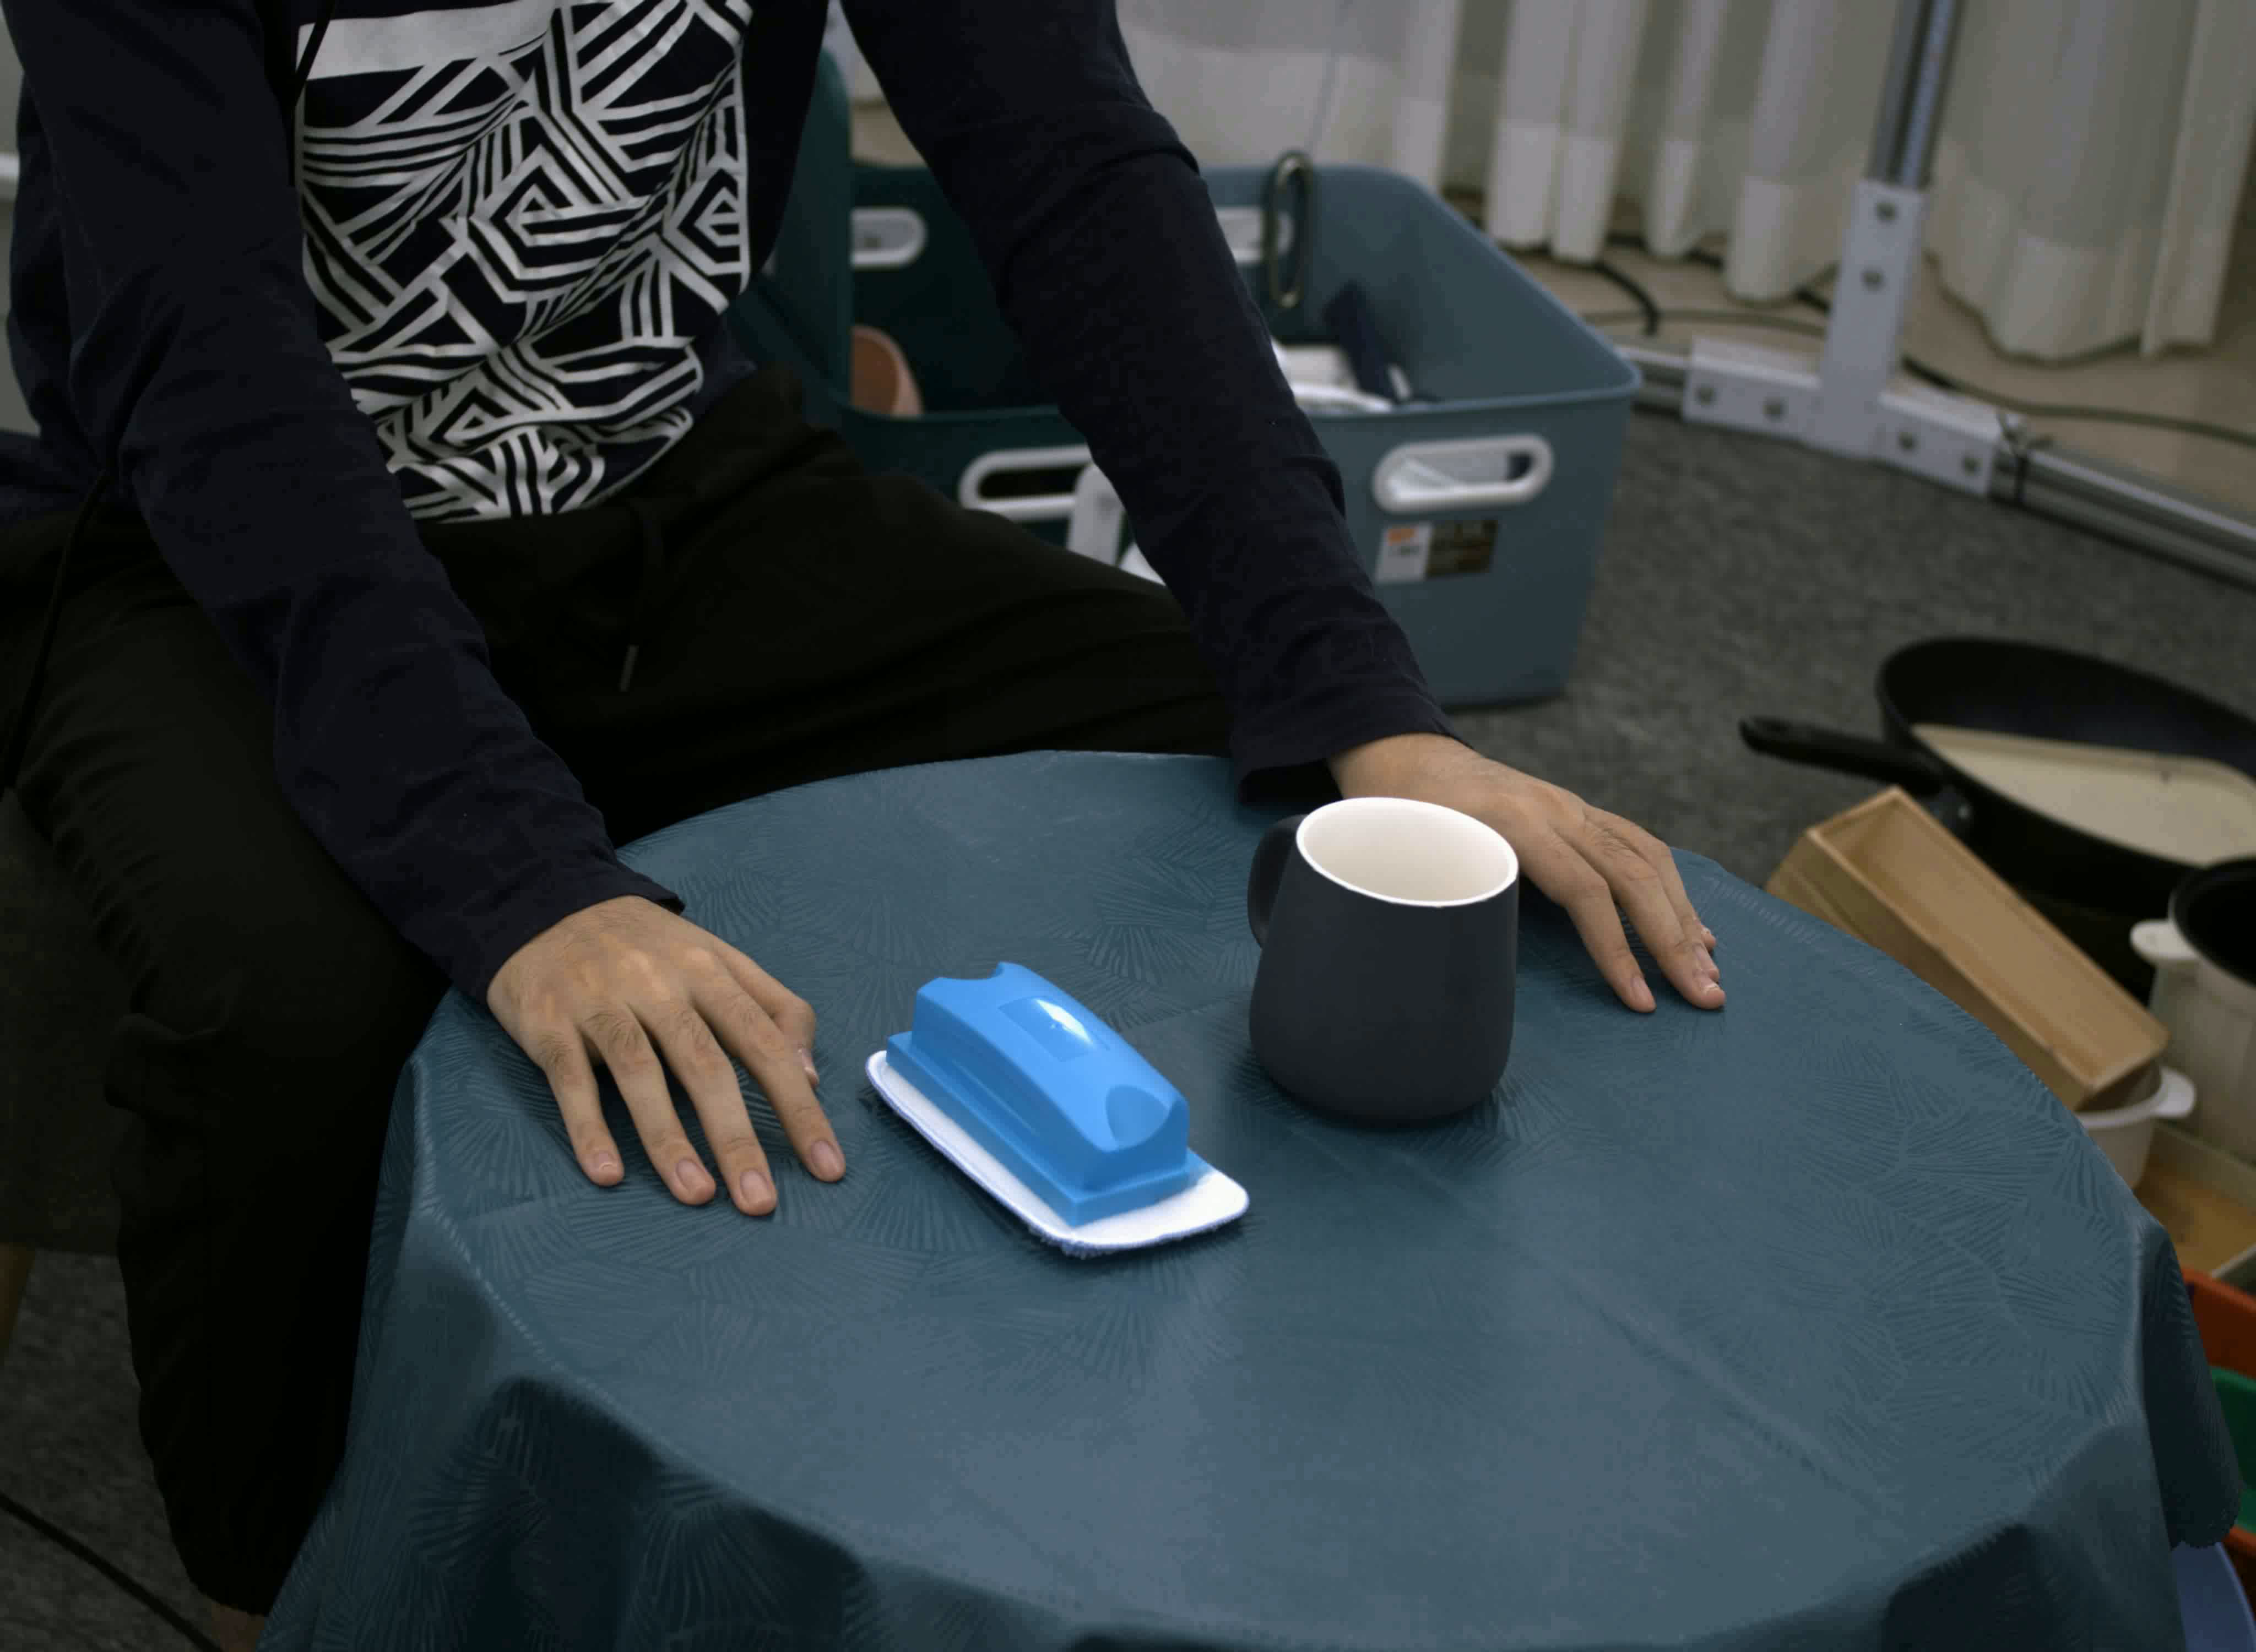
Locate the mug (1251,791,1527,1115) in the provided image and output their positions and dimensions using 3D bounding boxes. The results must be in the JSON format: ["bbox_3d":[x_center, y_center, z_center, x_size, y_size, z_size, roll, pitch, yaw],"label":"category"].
[{"bbox_3d":[0.086,0.038,1.887,0.093,0.089,0.124,-9,33,-33],"label":"mug"}]

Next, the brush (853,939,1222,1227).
[{"bbox_3d":[-0.029,0.083,1.813,0.083,0.056,0.145,-7,32,-32],"label":"brush"}]
